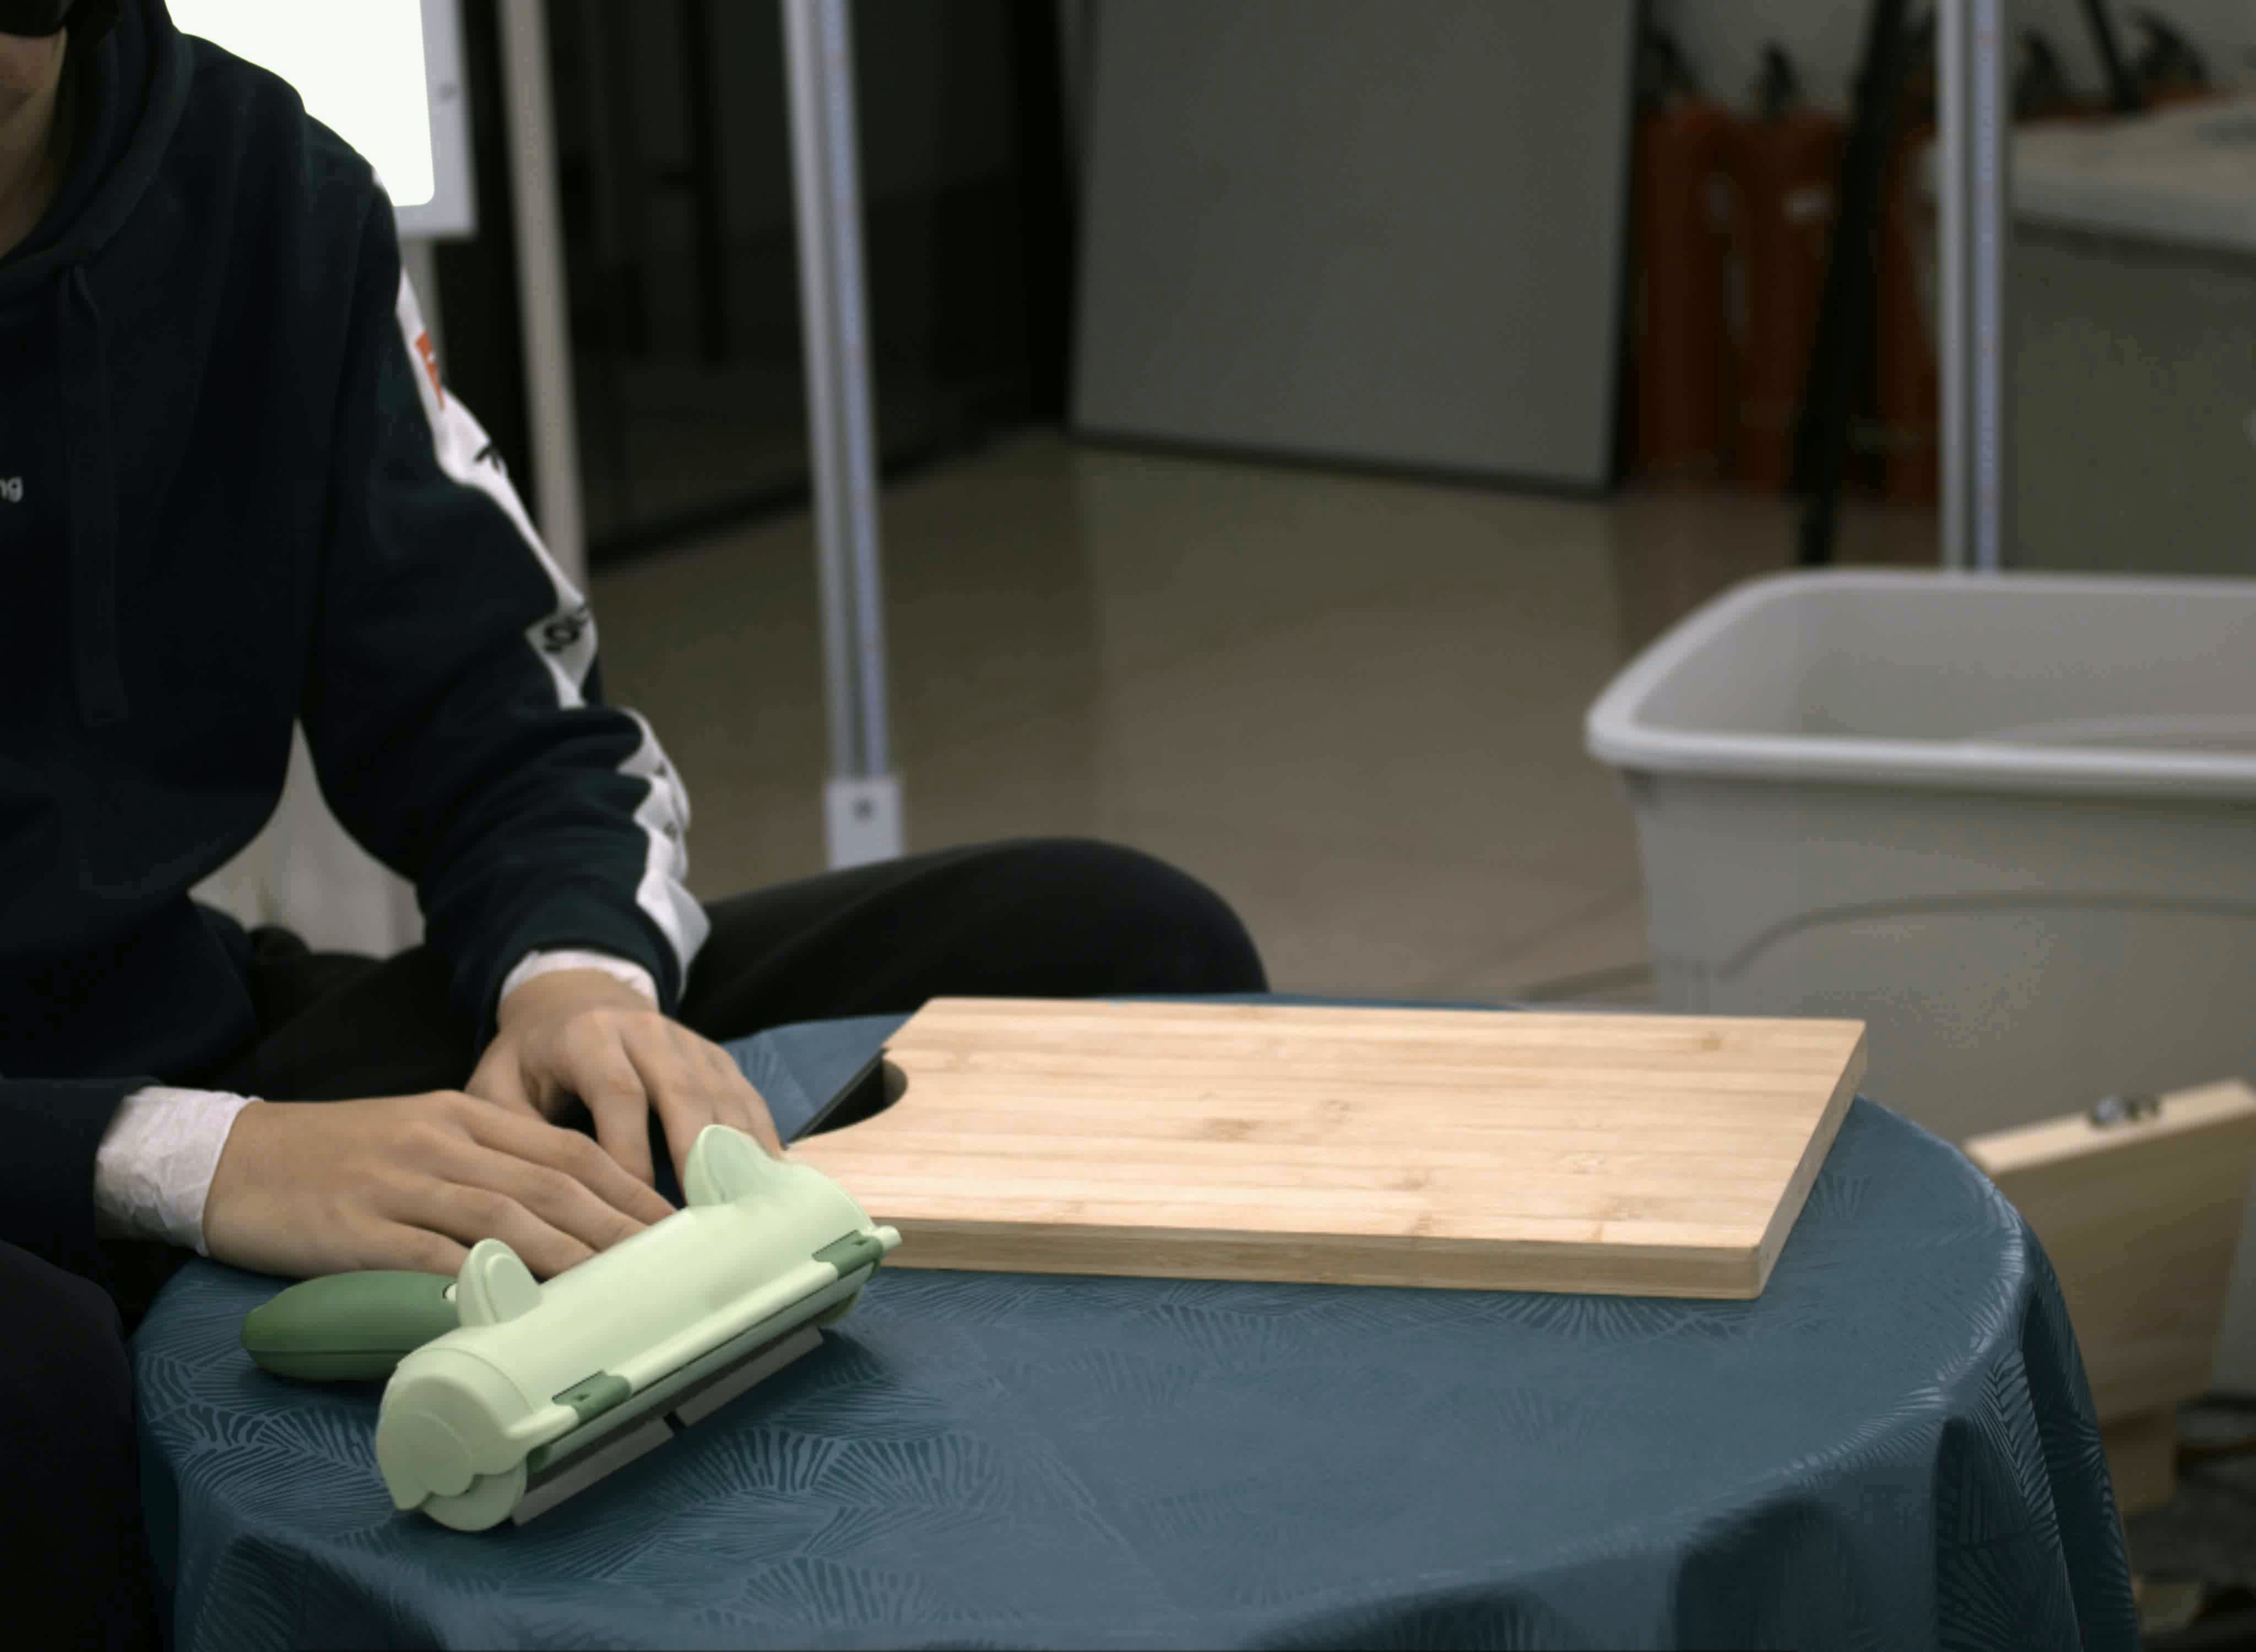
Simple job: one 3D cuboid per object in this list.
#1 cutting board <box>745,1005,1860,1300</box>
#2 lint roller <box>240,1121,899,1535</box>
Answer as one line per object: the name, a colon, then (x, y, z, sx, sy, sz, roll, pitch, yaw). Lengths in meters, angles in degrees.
cutting board: (0.057, 0.105, 1.788, 0.347, 0.024, 0.249, 0, 14, 16)
lint roller: (-0.191, 0.136, 1.606, 0.184, 0.083, 0.195, 9, 18, 30)
